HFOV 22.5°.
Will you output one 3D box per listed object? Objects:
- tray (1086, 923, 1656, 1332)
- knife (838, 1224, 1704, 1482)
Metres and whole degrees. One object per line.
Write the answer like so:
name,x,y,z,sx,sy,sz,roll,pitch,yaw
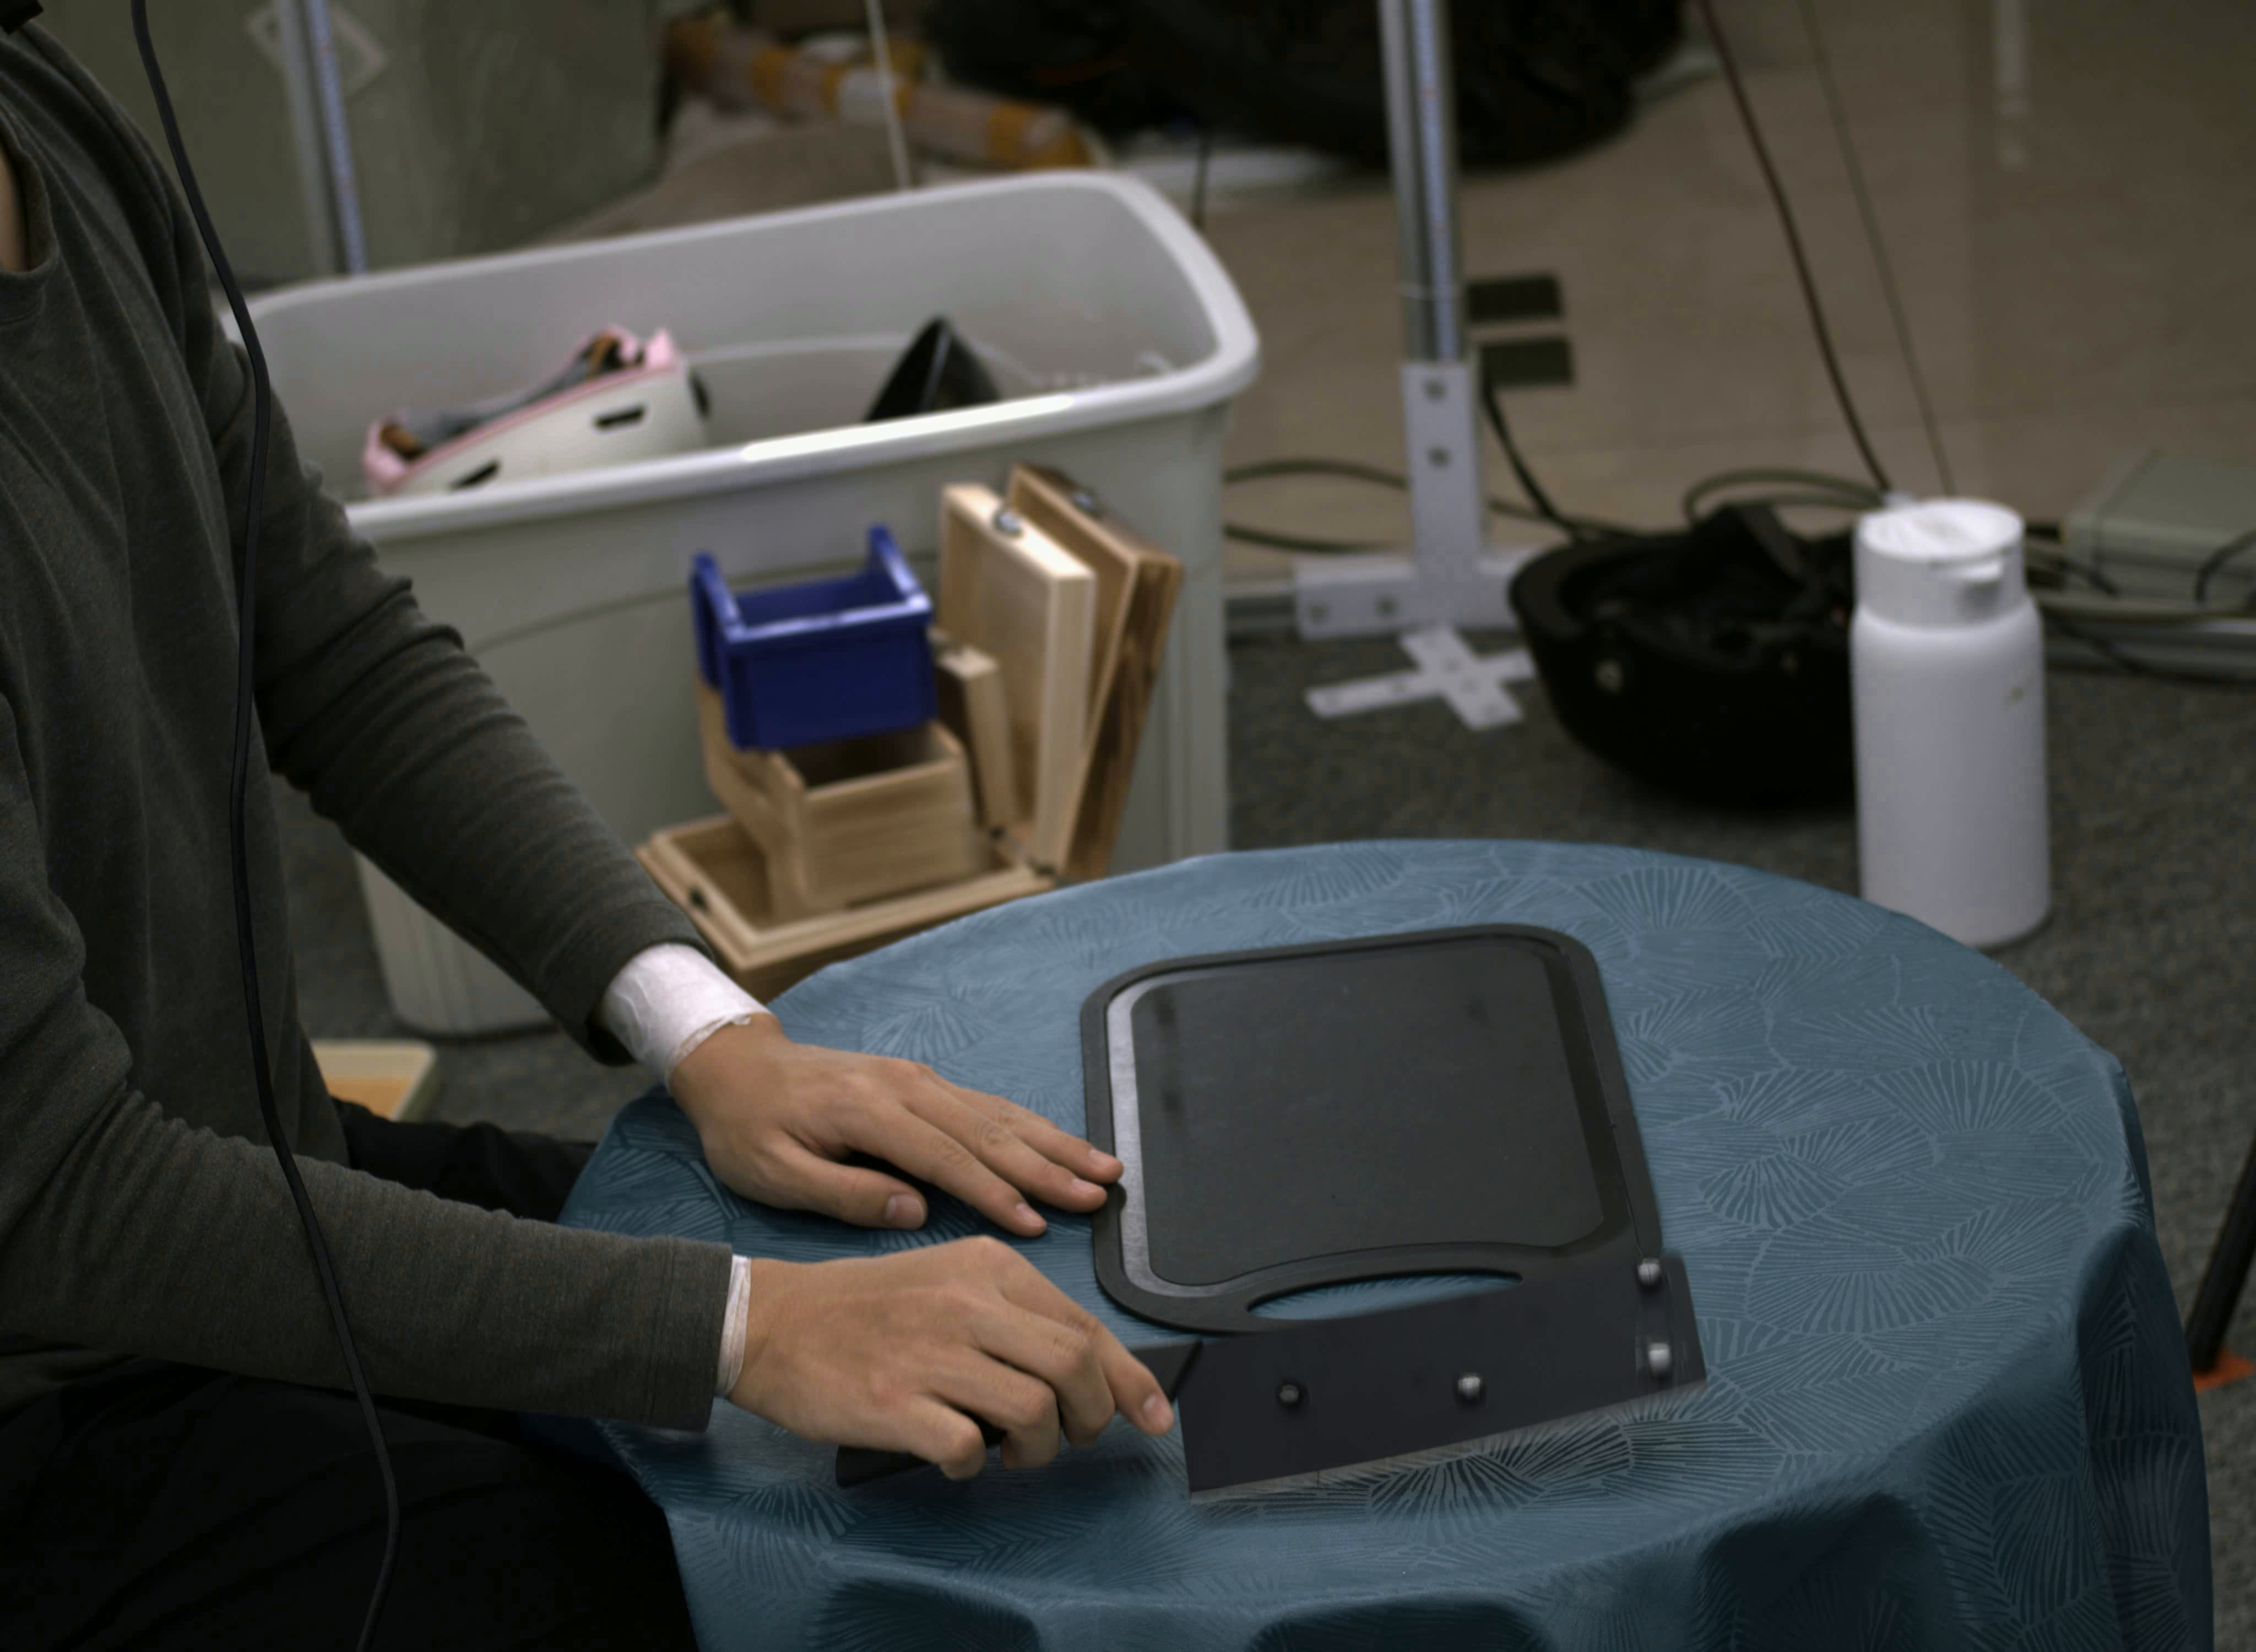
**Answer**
tray,0.089,0.113,2.178,0.211,0.010,0.320,-6,25,2
knife,0.047,0.190,1.955,0.302,0.021,0.079,-10,44,7
